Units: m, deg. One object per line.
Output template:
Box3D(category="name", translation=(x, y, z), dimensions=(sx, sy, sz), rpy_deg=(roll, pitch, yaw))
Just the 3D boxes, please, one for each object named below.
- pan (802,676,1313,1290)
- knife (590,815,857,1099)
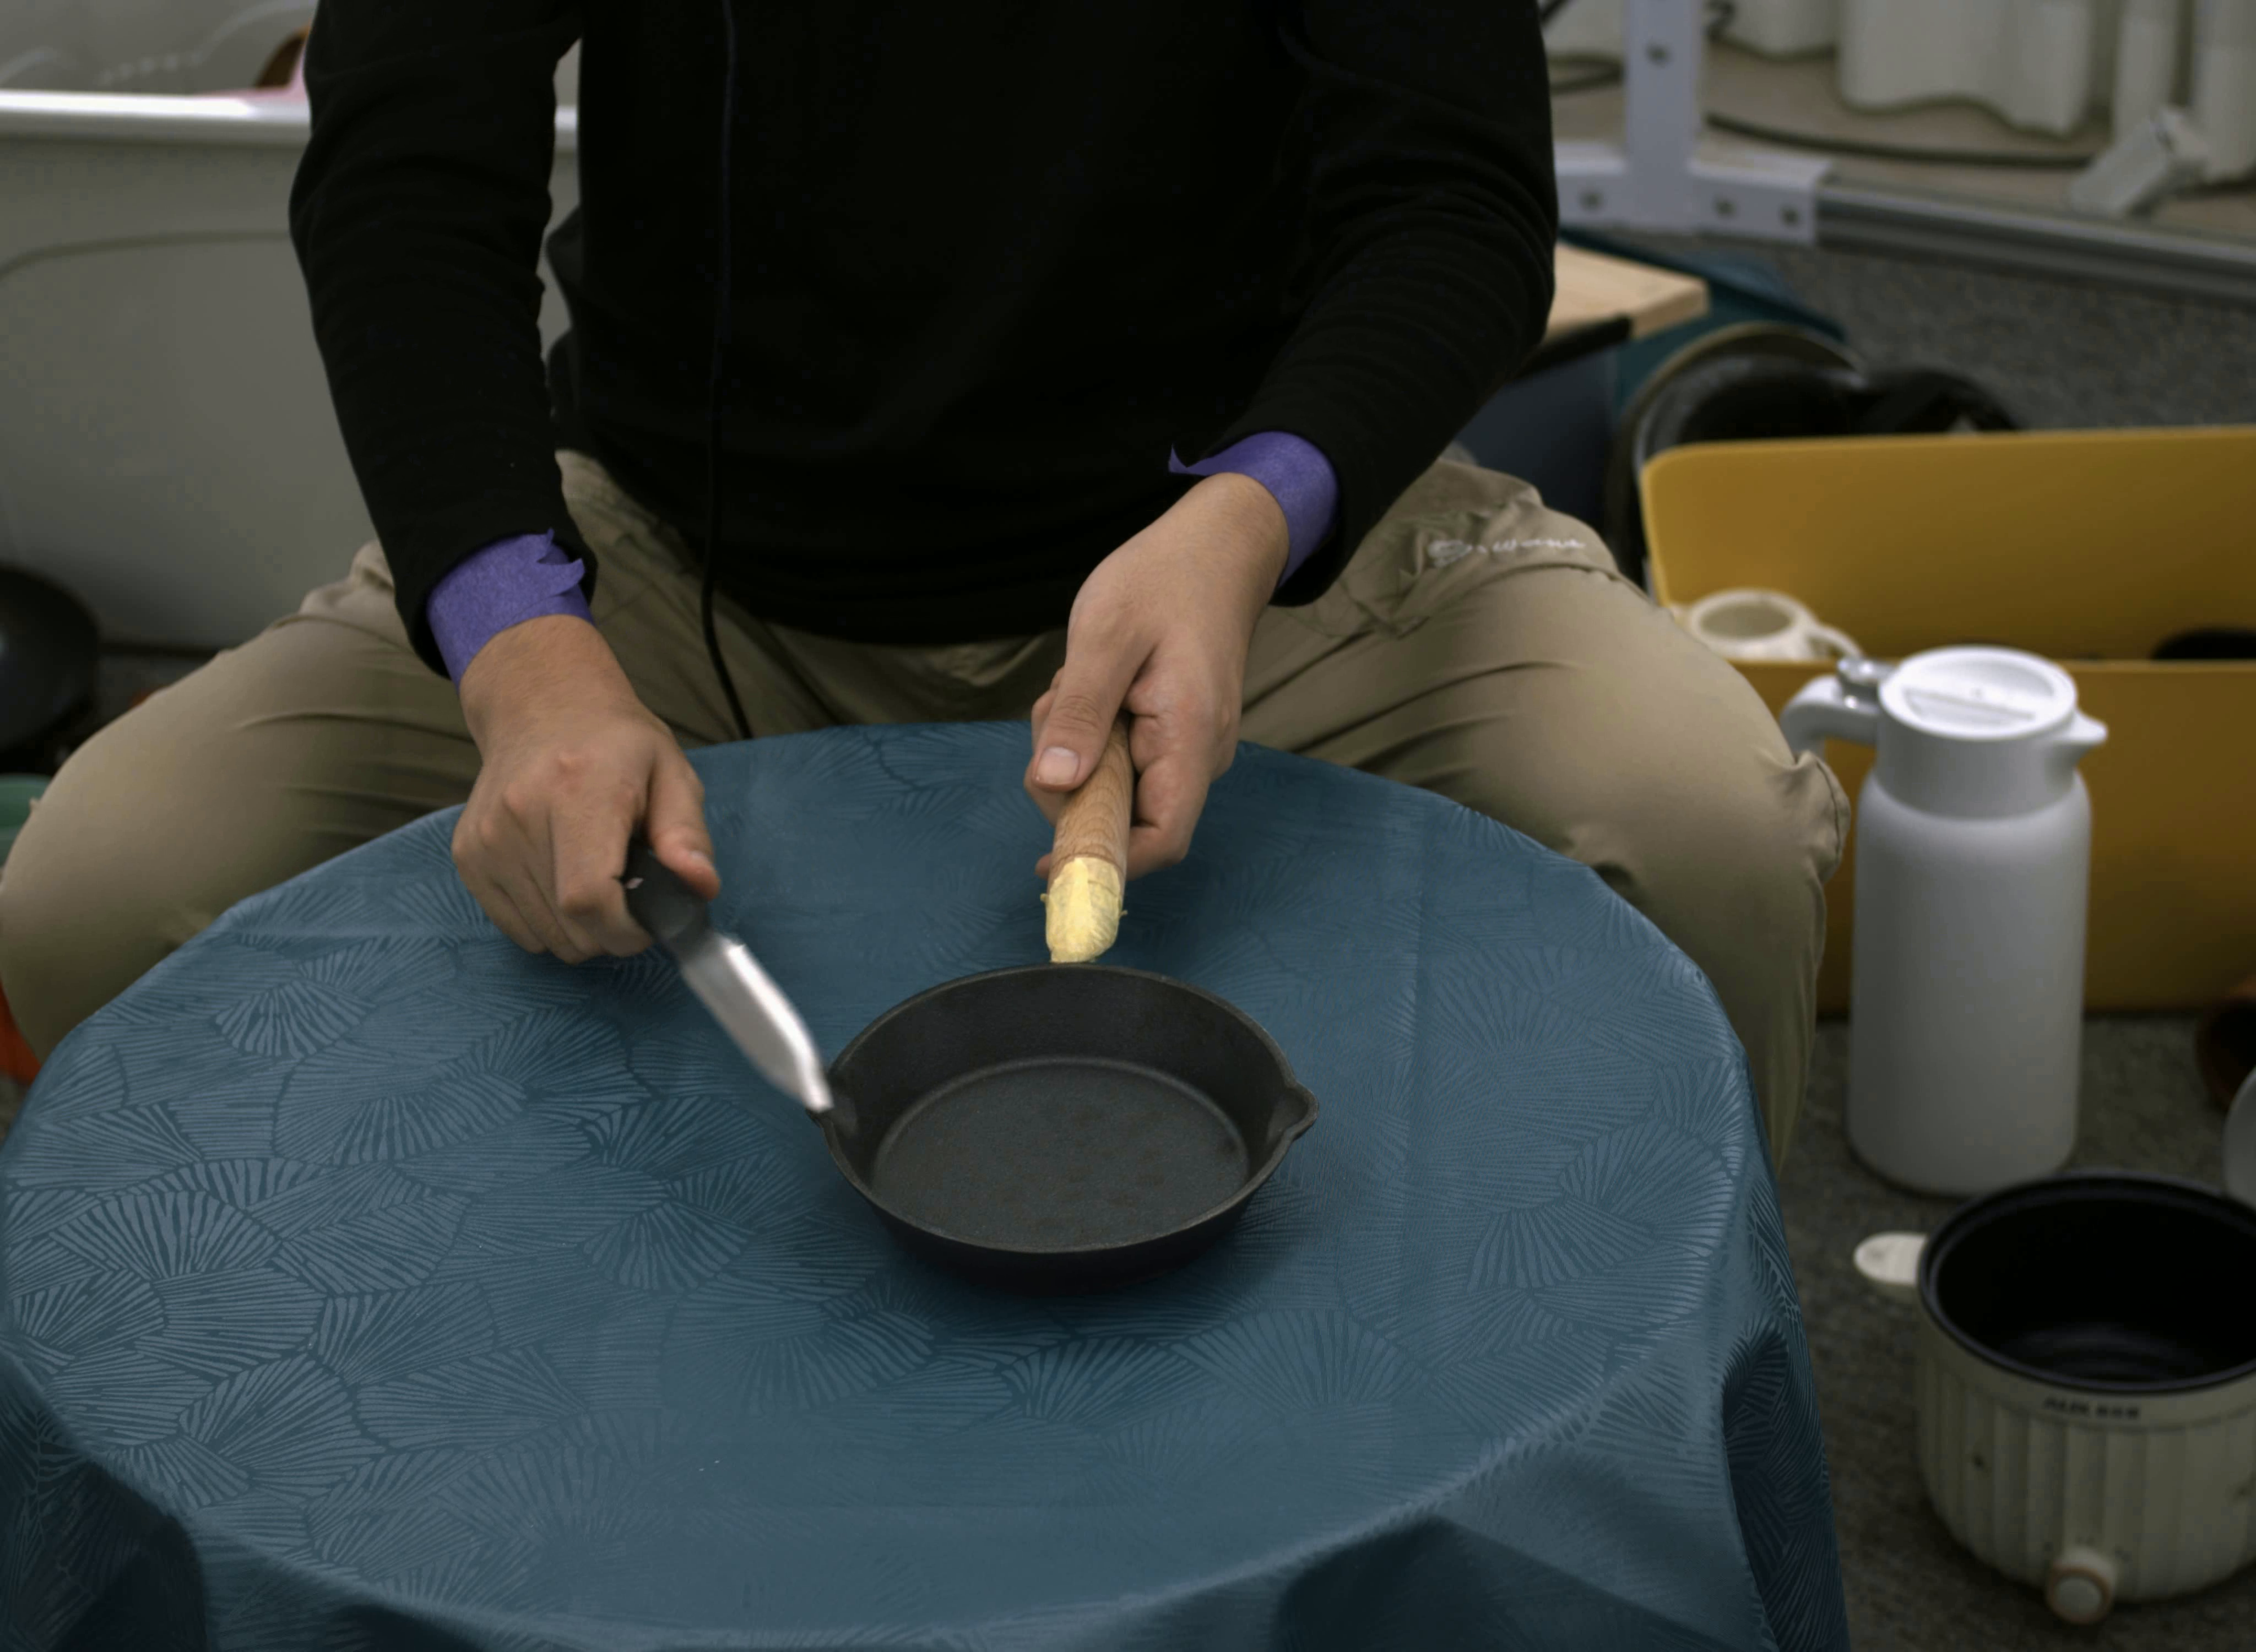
Box3D(category="pan", translation=(-0.015, 0.051, 1.914), dimensions=(0.168, 0.049, 0.330), rpy_deg=(3, 33, 5))
Box3D(category="knife", translation=(-0.138, 0.046, 1.902), dimensions=(0.024, 0.016, 0.239), rpy_deg=(-39, 32, -6))
